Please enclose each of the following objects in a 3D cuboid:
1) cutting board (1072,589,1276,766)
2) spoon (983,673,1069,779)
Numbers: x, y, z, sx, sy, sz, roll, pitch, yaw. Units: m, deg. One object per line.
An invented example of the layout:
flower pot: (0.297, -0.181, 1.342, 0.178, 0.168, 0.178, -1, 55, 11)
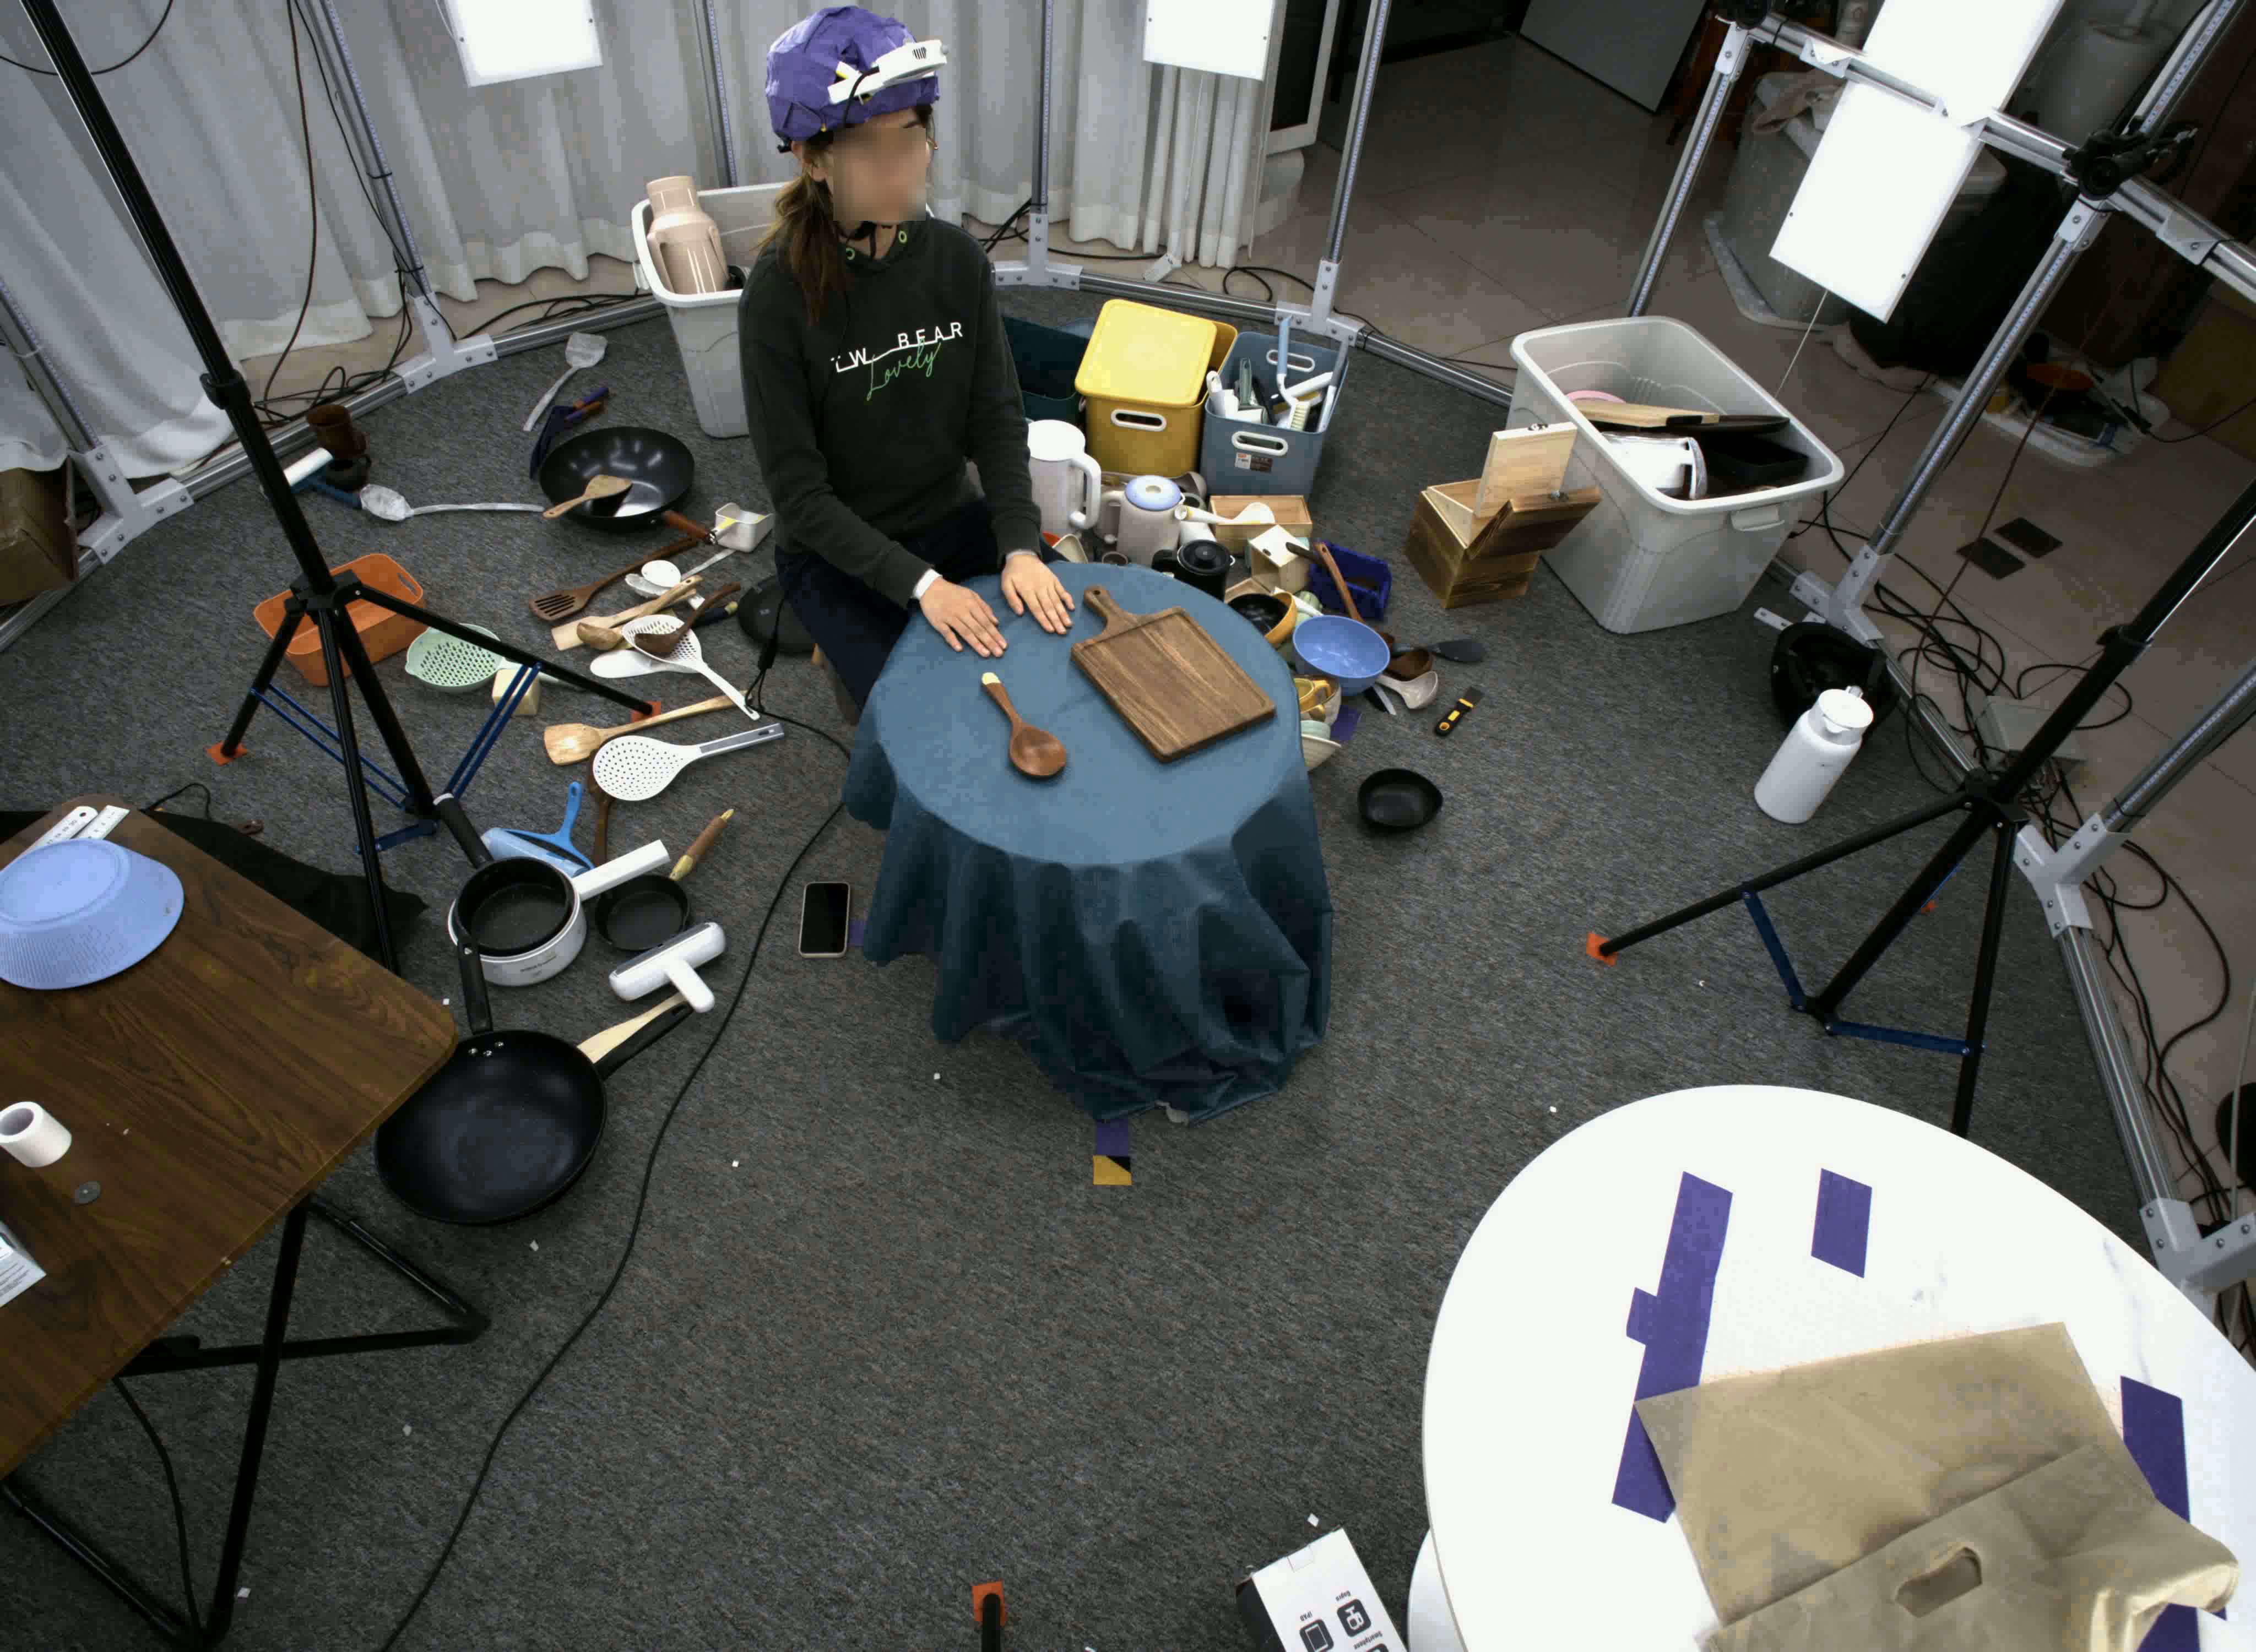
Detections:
cutting board: (0.038, -0.240, 1.885, 0.202, 0.022, 0.359, -24, 54, -22)
spoon: (-0.149, -0.140, 1.785, 0.075, 0.017, 0.220, -20, 54, -18)
